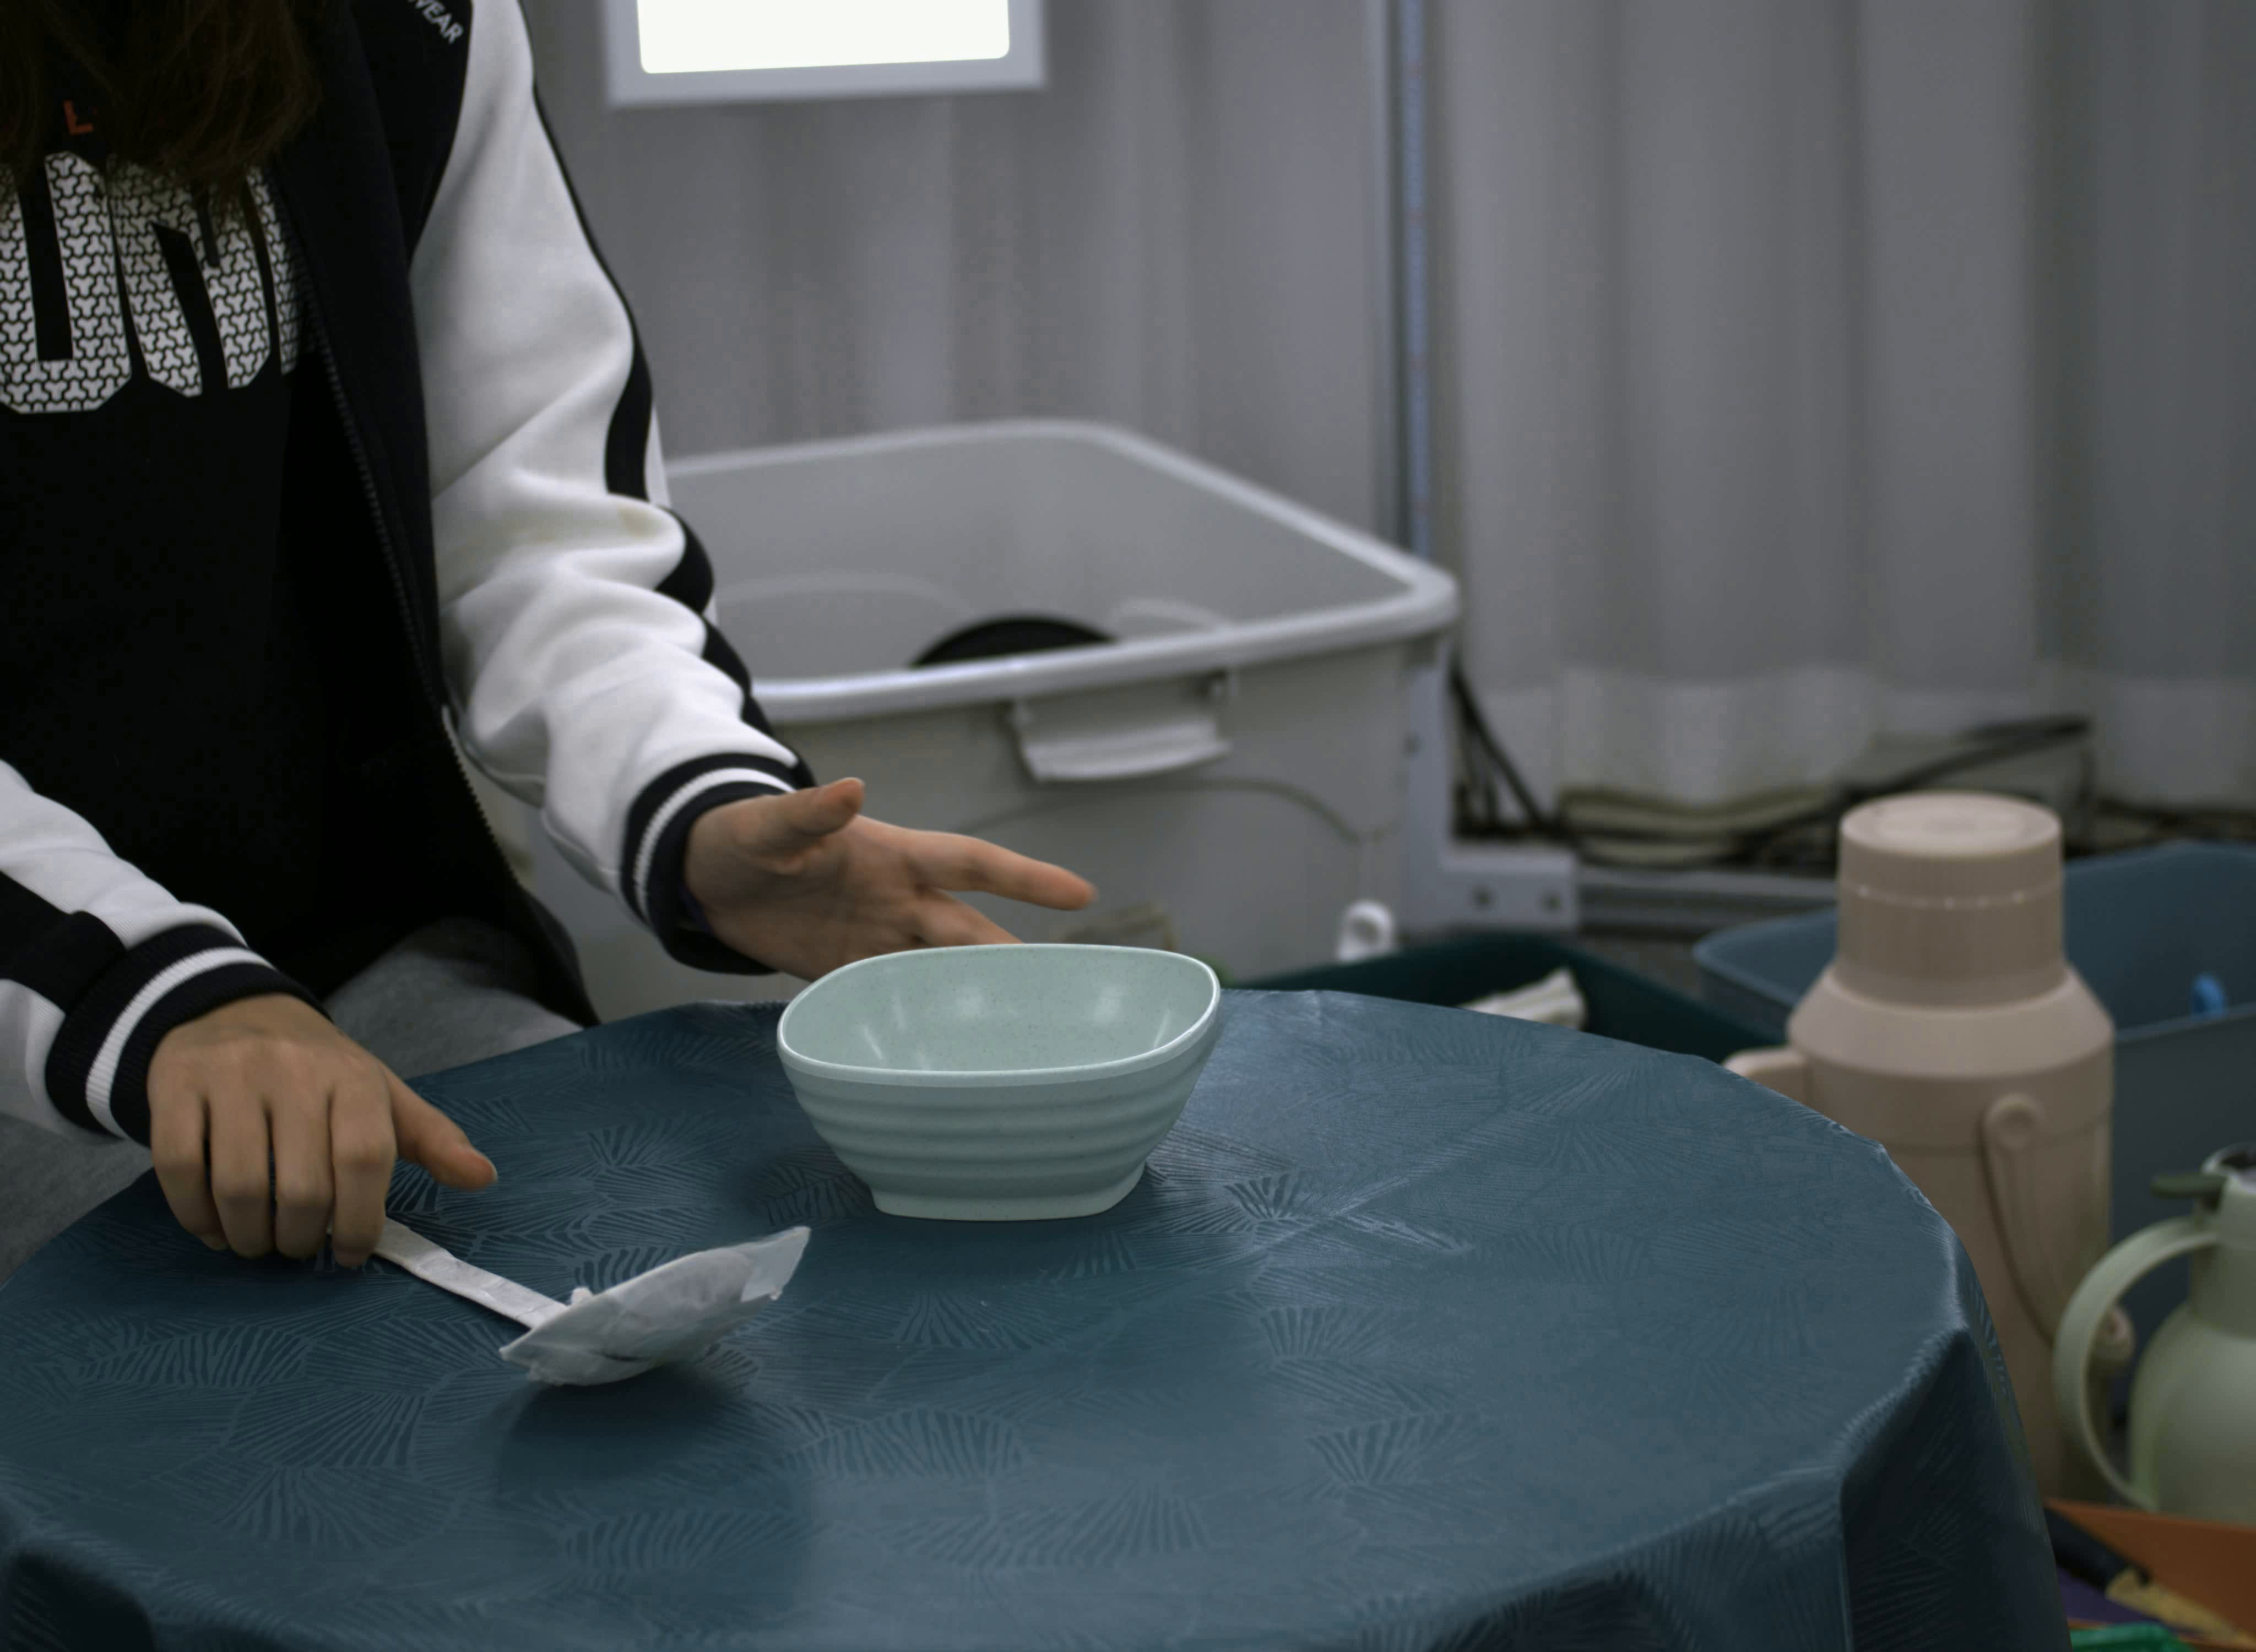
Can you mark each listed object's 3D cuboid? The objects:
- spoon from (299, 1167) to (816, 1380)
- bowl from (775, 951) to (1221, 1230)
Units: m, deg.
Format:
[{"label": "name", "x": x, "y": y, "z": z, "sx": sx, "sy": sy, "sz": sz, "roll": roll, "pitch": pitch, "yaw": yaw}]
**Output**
[{"label": "spoon", "x": -0.184, "y": 0.114, "z": 1.638, "sx": 0.100, "sy": 0.059, "sz": 0.279, "roll": -9, "pitch": 16, "yaw": -31}, {"label": "bowl", "x": -0.039, "y": 0.087, "z": 1.727, "sx": 0.151, "sy": 0.058, "sz": 0.152, "roll": -3, "pitch": 15, "yaw": 0}]
